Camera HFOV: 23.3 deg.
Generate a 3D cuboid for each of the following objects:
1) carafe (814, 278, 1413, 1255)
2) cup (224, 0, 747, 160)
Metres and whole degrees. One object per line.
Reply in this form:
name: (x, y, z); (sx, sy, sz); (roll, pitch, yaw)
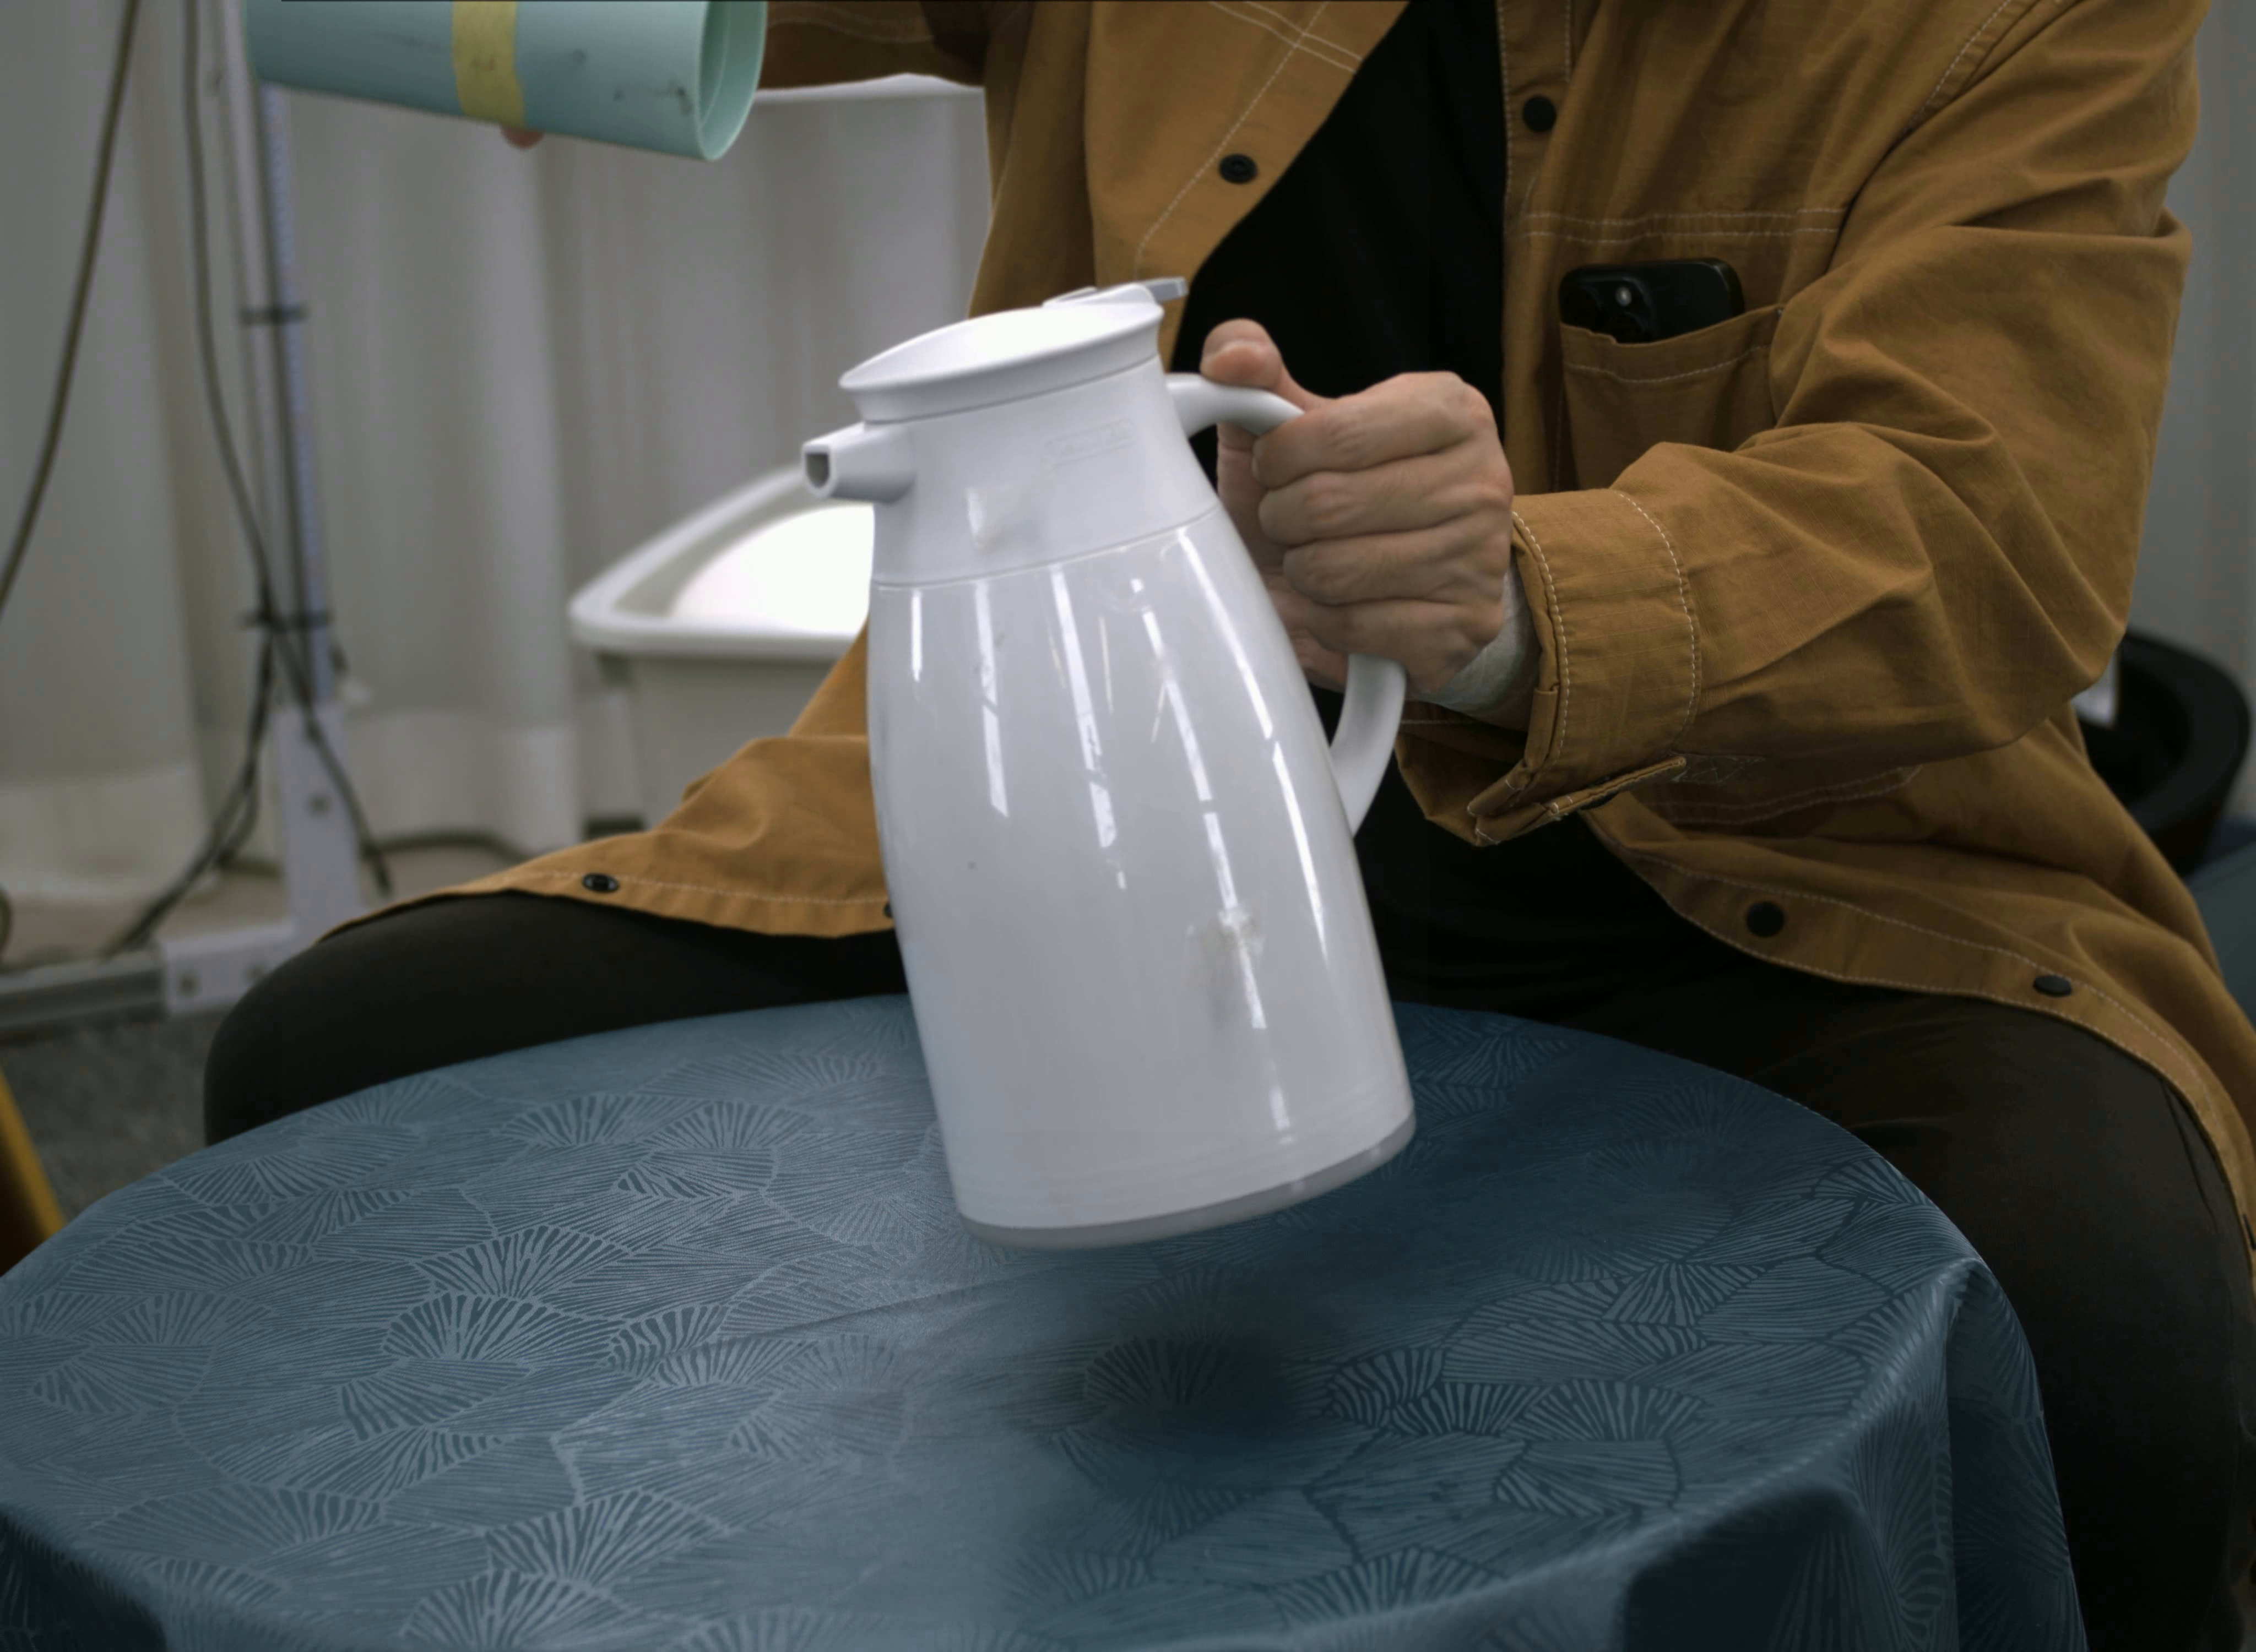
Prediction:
carafe: (0.007, -0.024, 1.525); (0.167, 0.248, 0.133); (-16, 11, -26)
cup: (-0.175, -0.225, 1.509); (0.132, 0.066, 0.067); (10, 17, 11)
